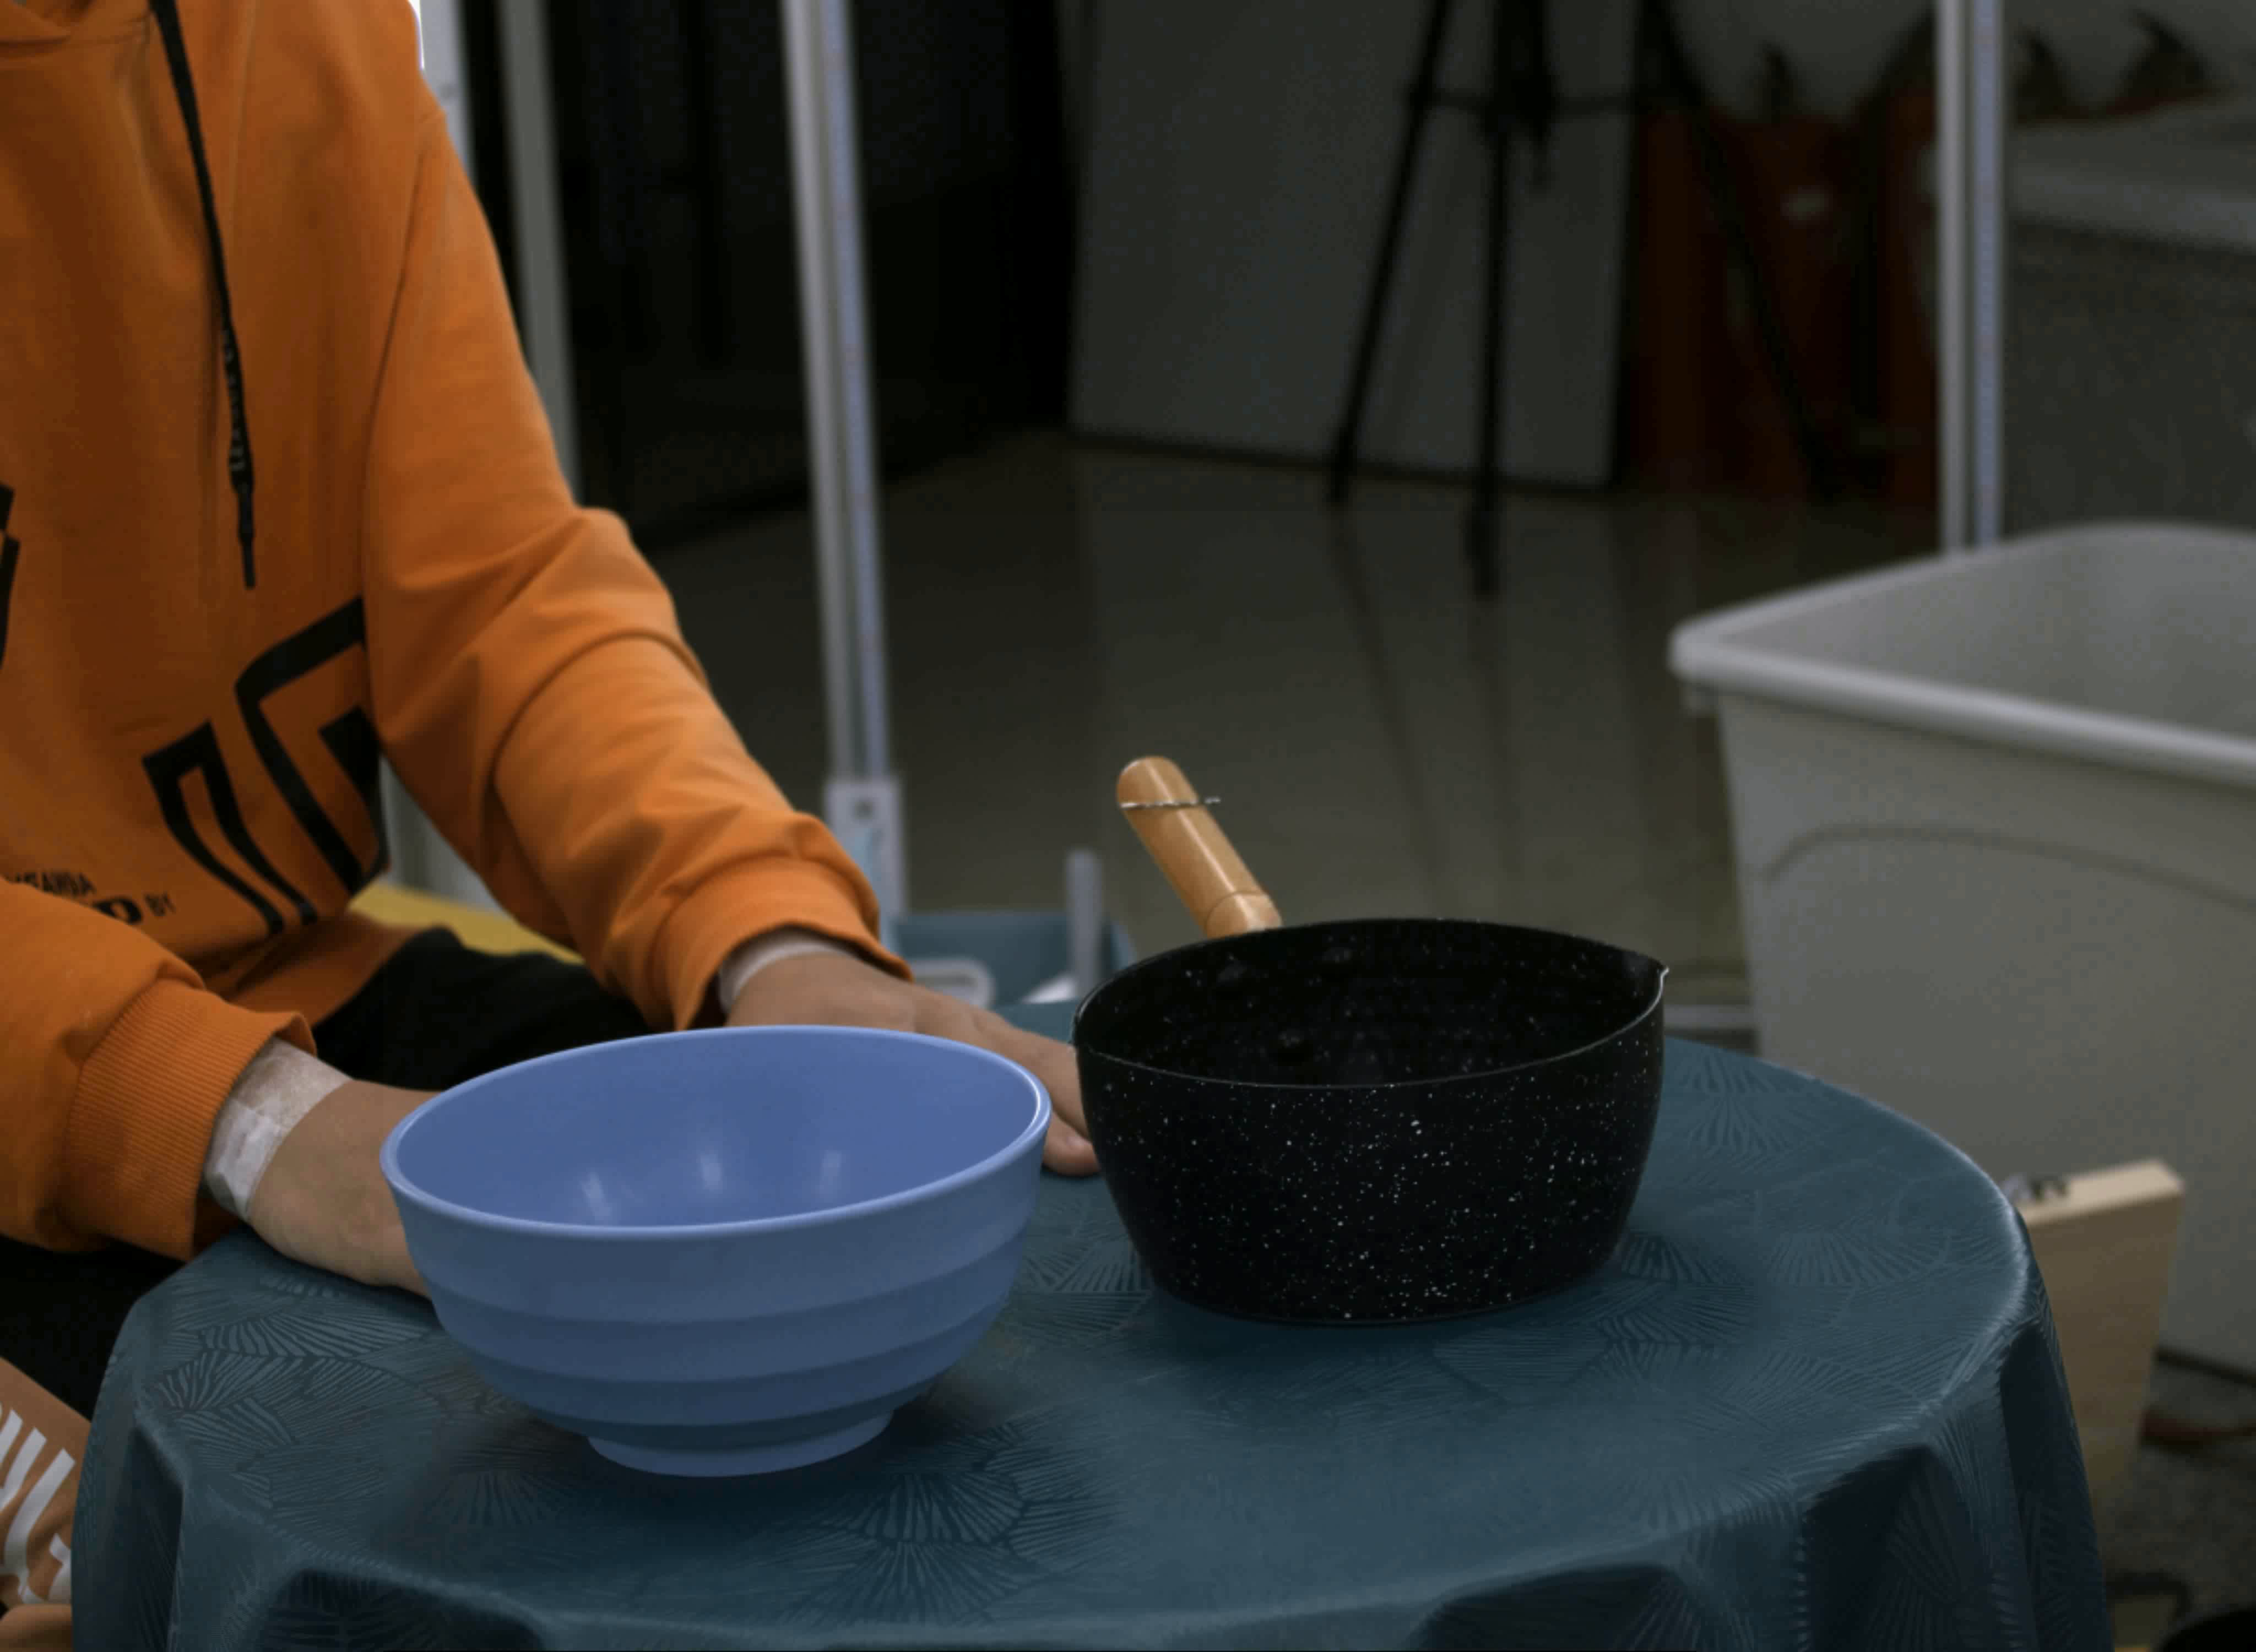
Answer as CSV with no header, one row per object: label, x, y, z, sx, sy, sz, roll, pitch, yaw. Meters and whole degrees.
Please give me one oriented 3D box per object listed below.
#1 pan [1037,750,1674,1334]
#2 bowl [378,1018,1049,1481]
pan,0.054,0.065,1.757,0.203,0.109,0.345,-9,16,-15
bowl,-0.116,0.129,1.571,0.194,0.096,0.197,-4,15,0
